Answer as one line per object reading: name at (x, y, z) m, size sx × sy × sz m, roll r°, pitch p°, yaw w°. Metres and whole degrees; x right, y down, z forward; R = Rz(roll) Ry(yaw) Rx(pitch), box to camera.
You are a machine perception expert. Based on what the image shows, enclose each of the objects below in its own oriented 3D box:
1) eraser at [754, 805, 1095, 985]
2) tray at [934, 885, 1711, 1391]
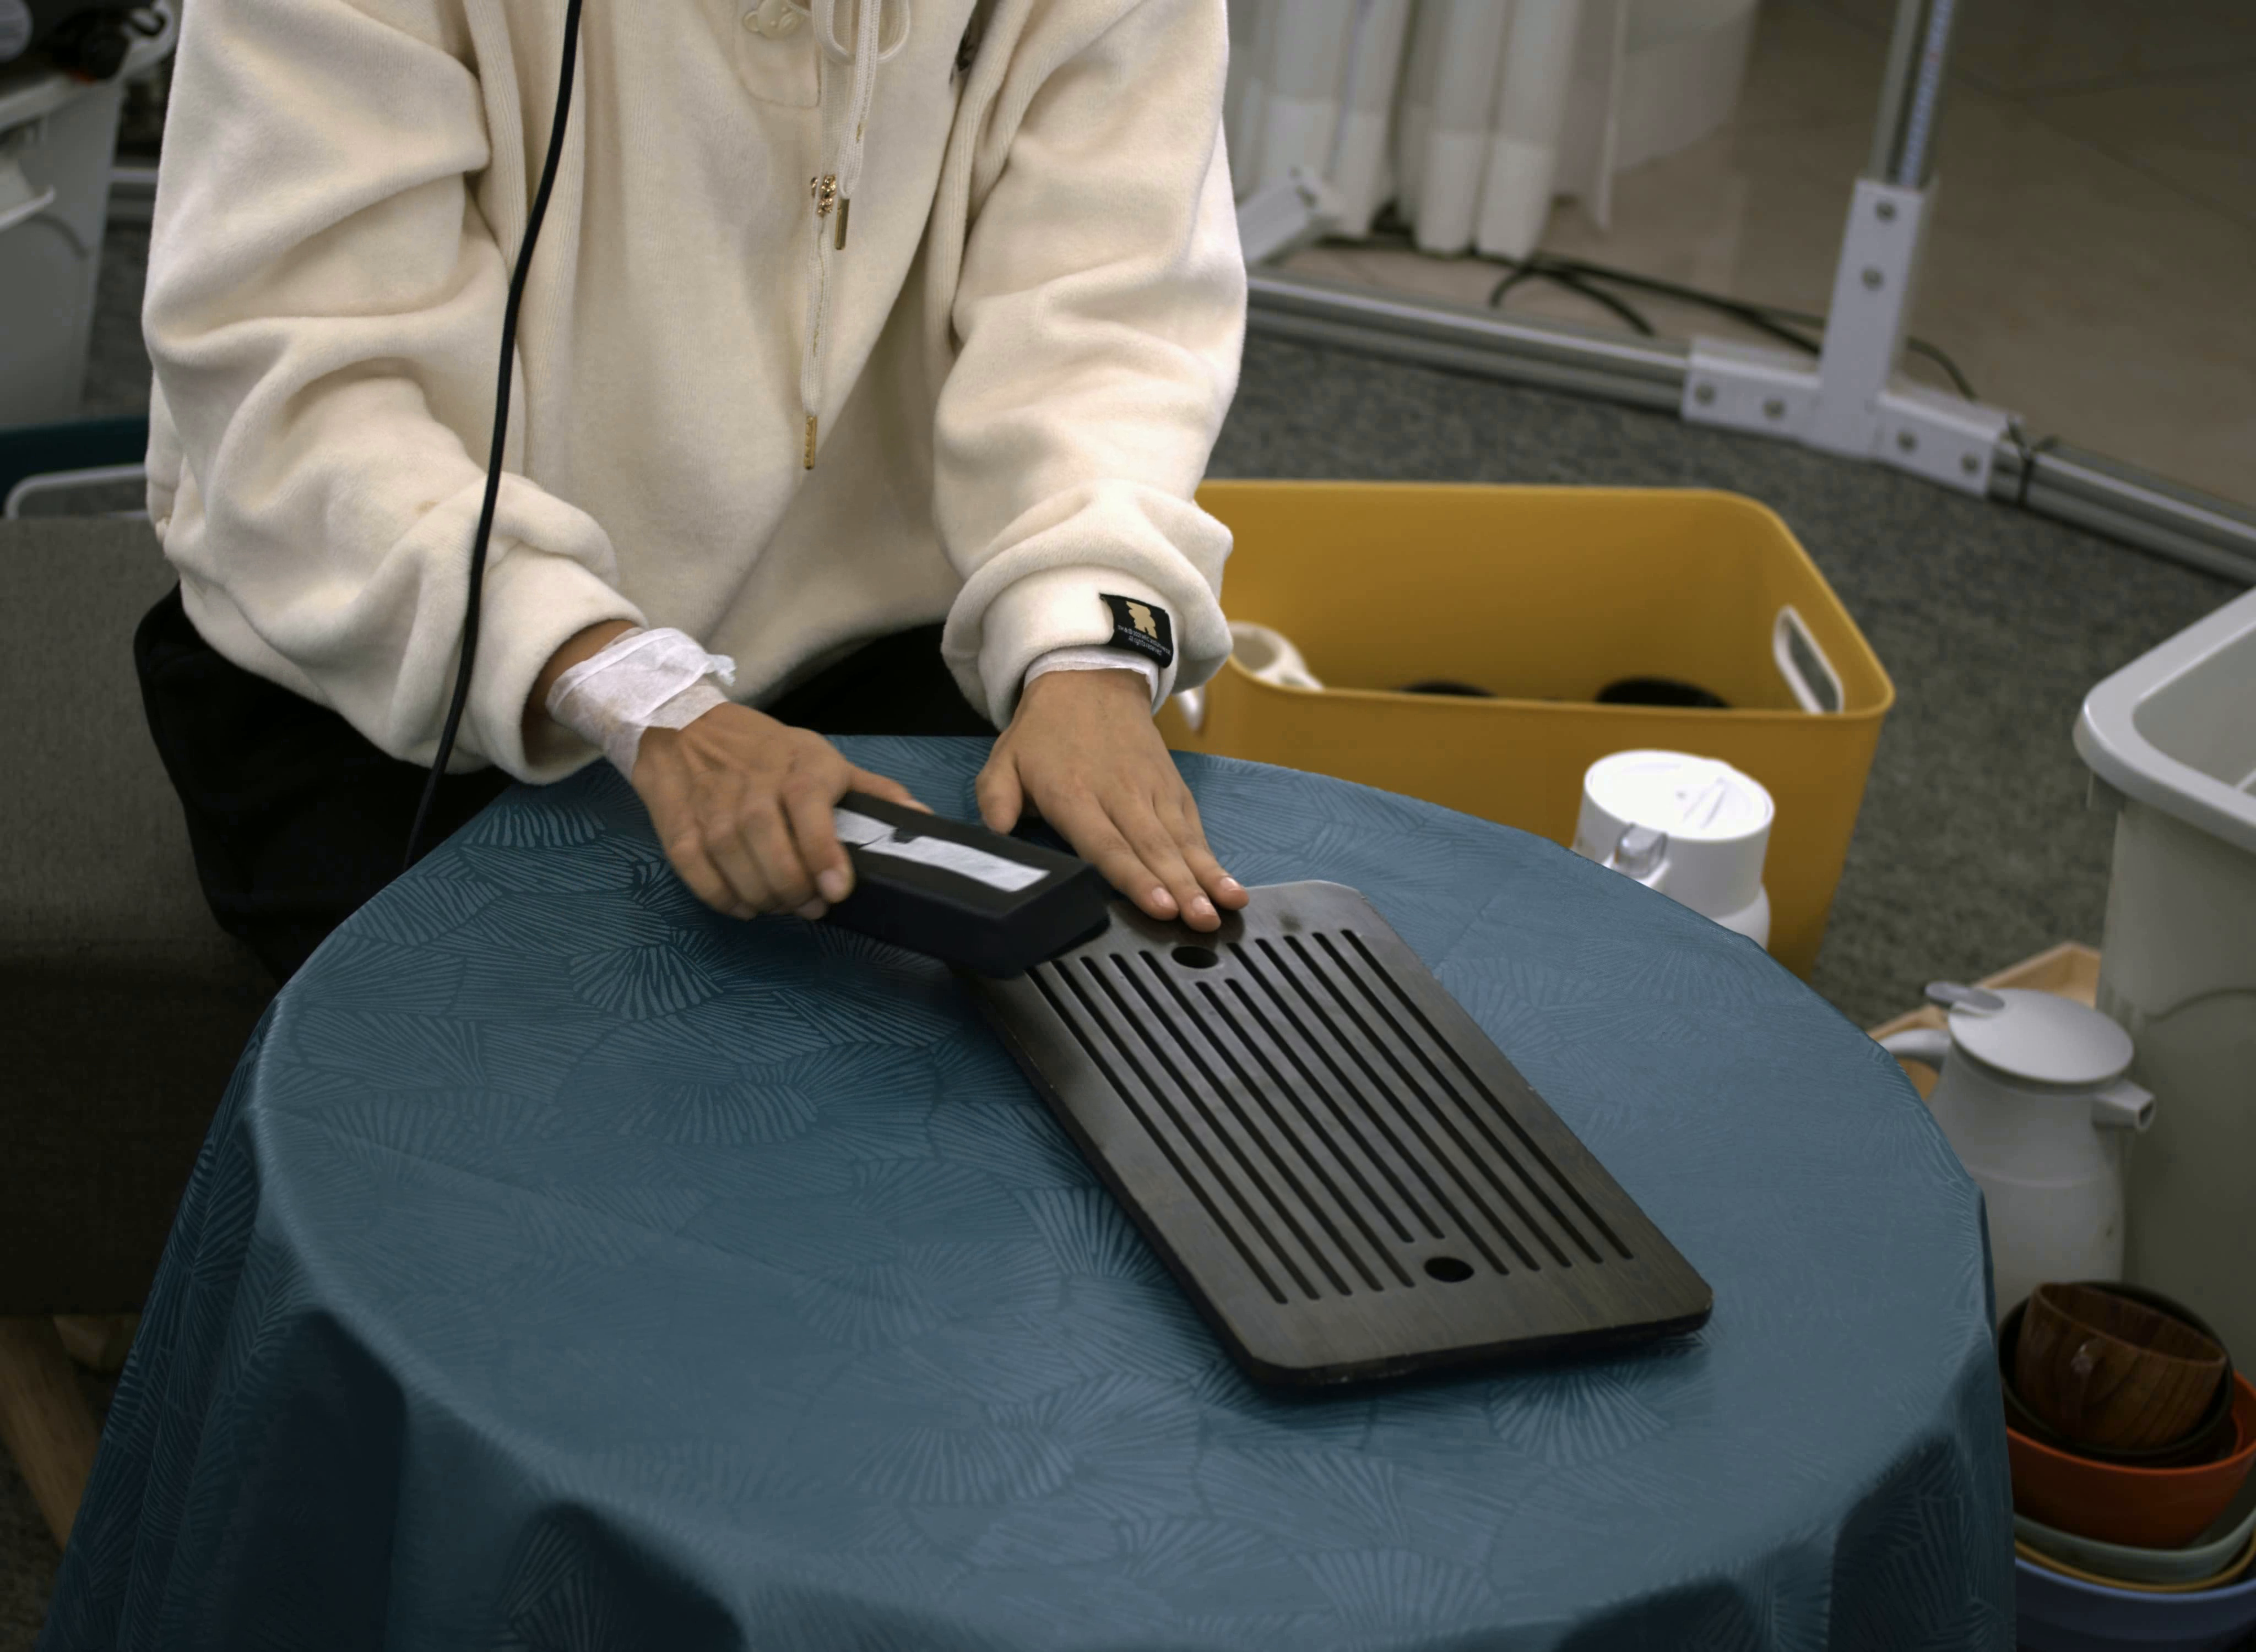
eraser at (-0.072, 0.023, 1.898) m, size 0.126 × 0.030 × 0.053 m, roll 15°, pitch 31°, yaw 42°
tray at (0.060, 0.104, 1.834) m, size 0.169 × 0.018 × 0.309 m, roll -5°, pitch 29°, yaw -22°
